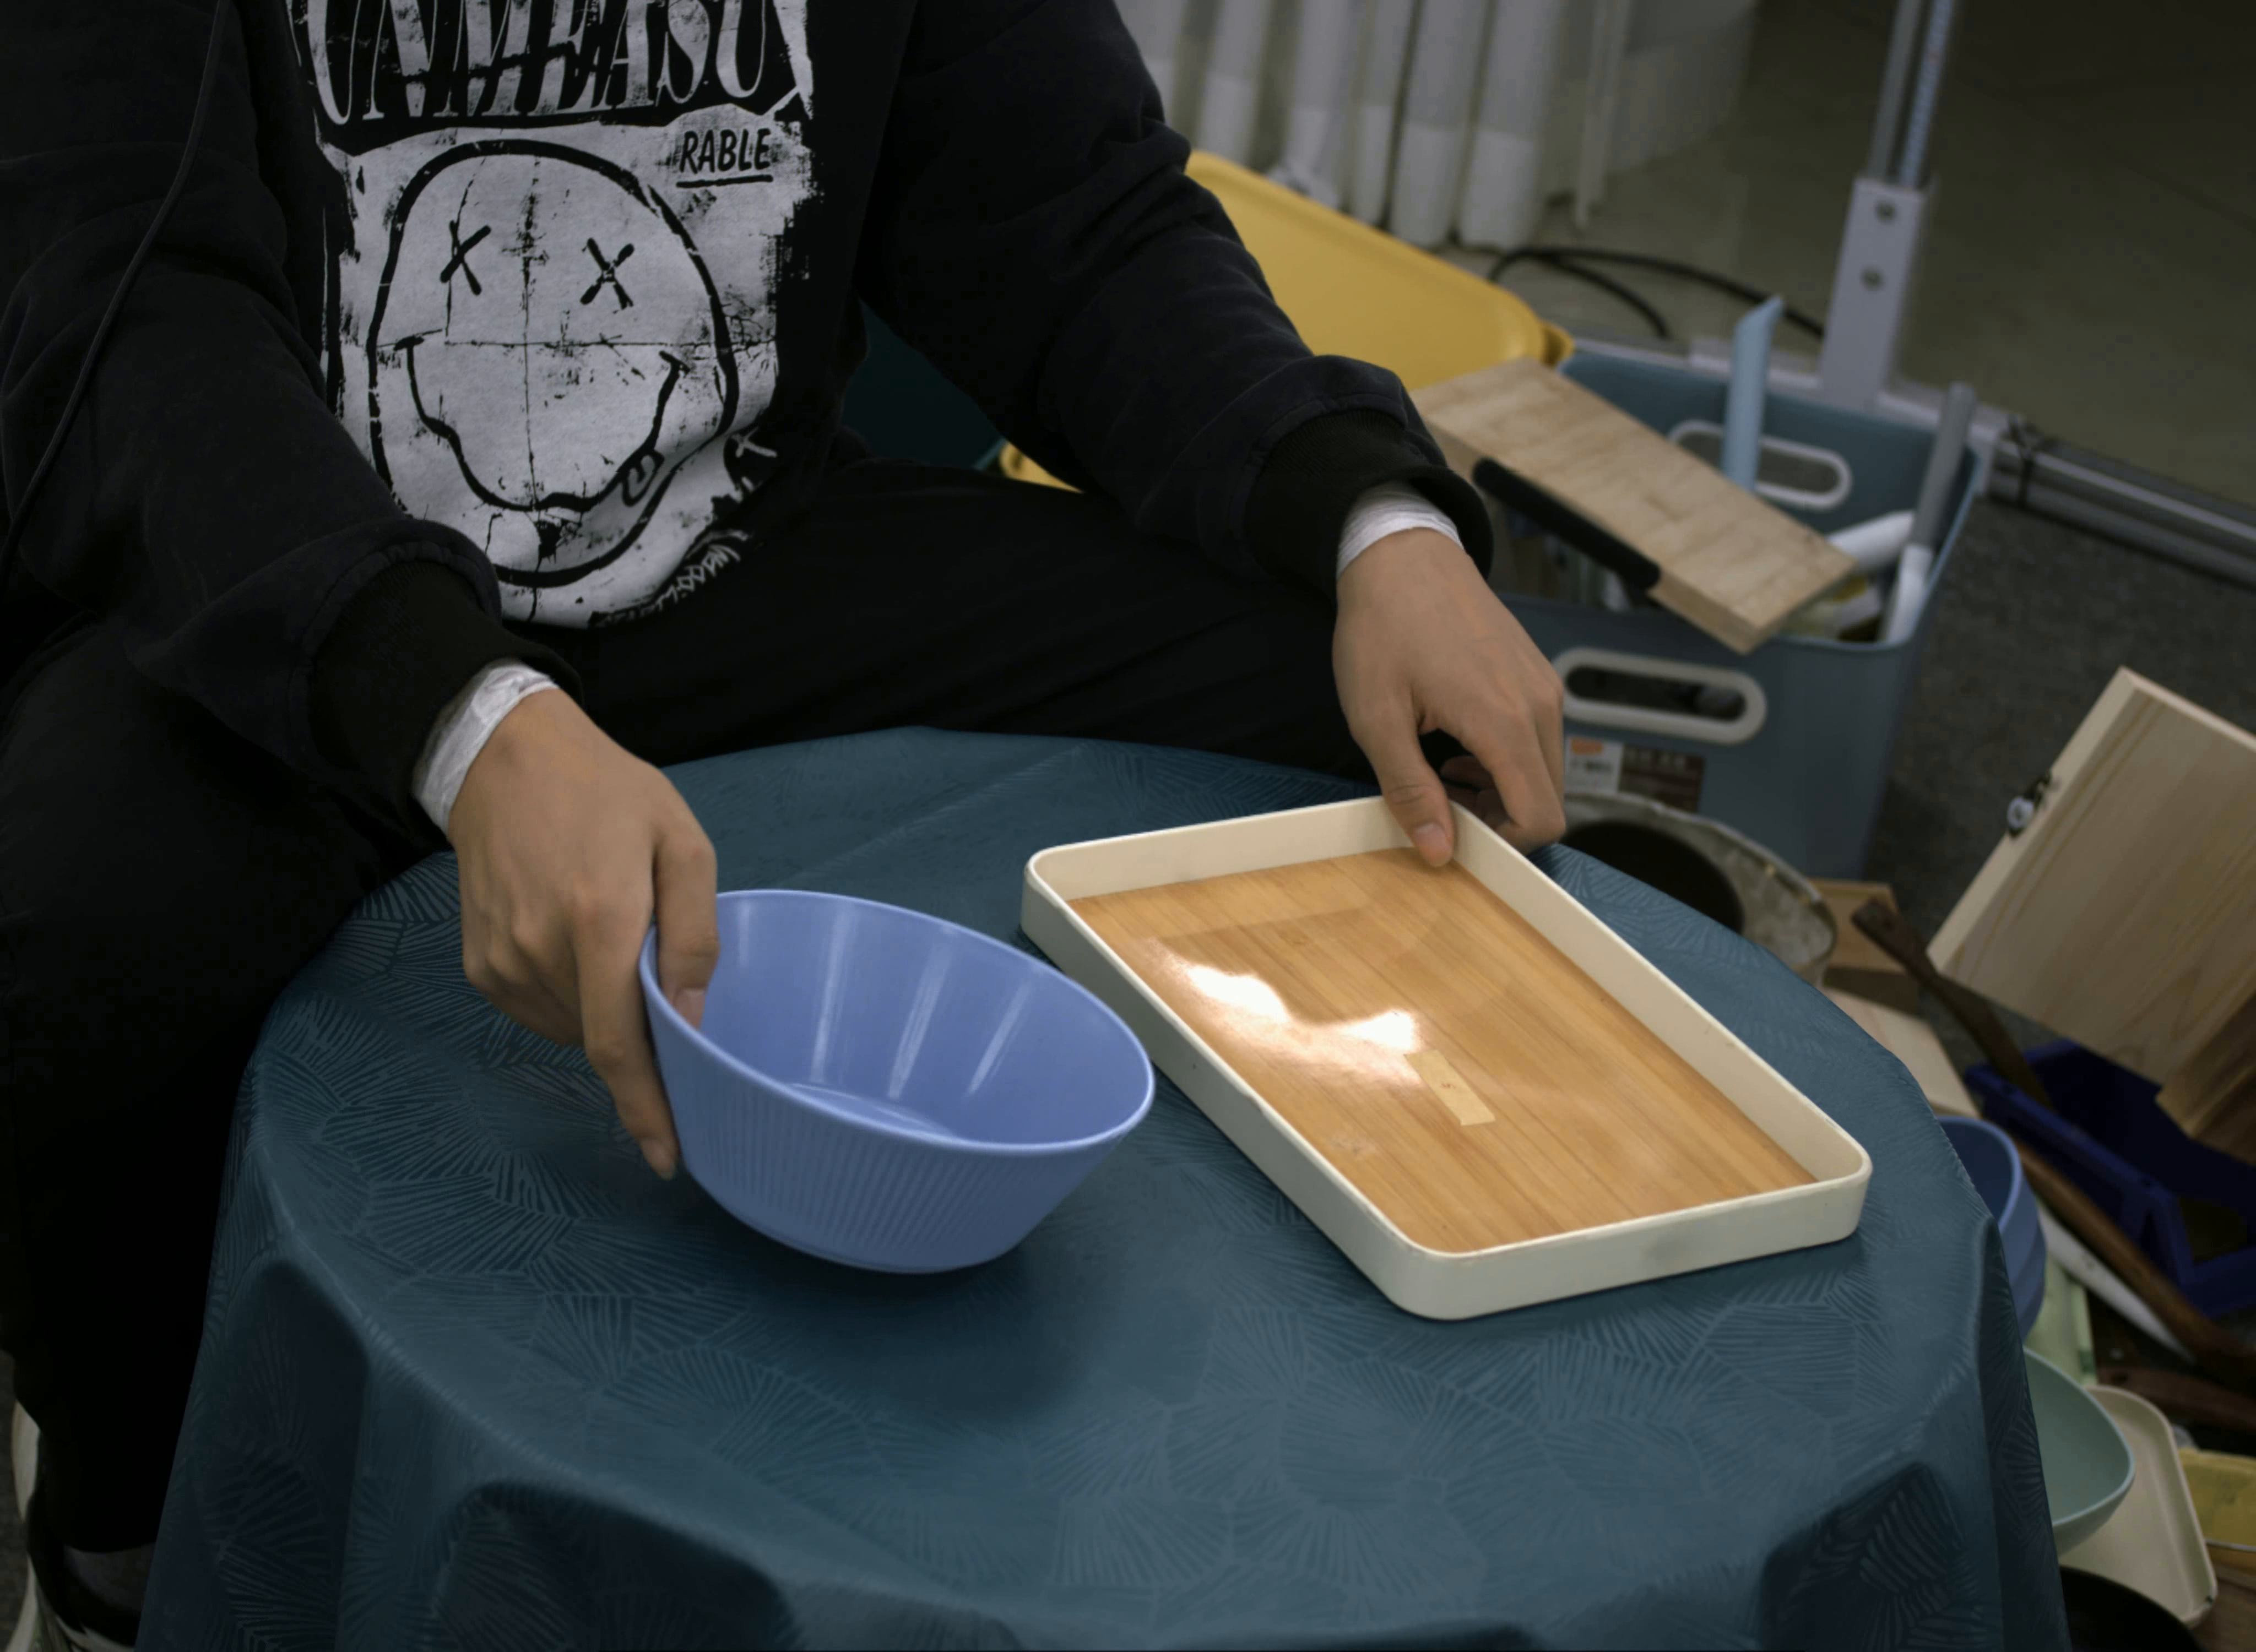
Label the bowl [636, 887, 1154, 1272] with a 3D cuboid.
[{"bbox_3d":[-0.084,0.089,1.751,0.175,0.070,0.177,14,23,-7],"label":"bowl"}]

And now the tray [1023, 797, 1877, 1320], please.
[{"bbox_3d":[0.108,0.076,1.890,0.190,0.027,0.303,-8,30,-28],"label":"tray"}]
